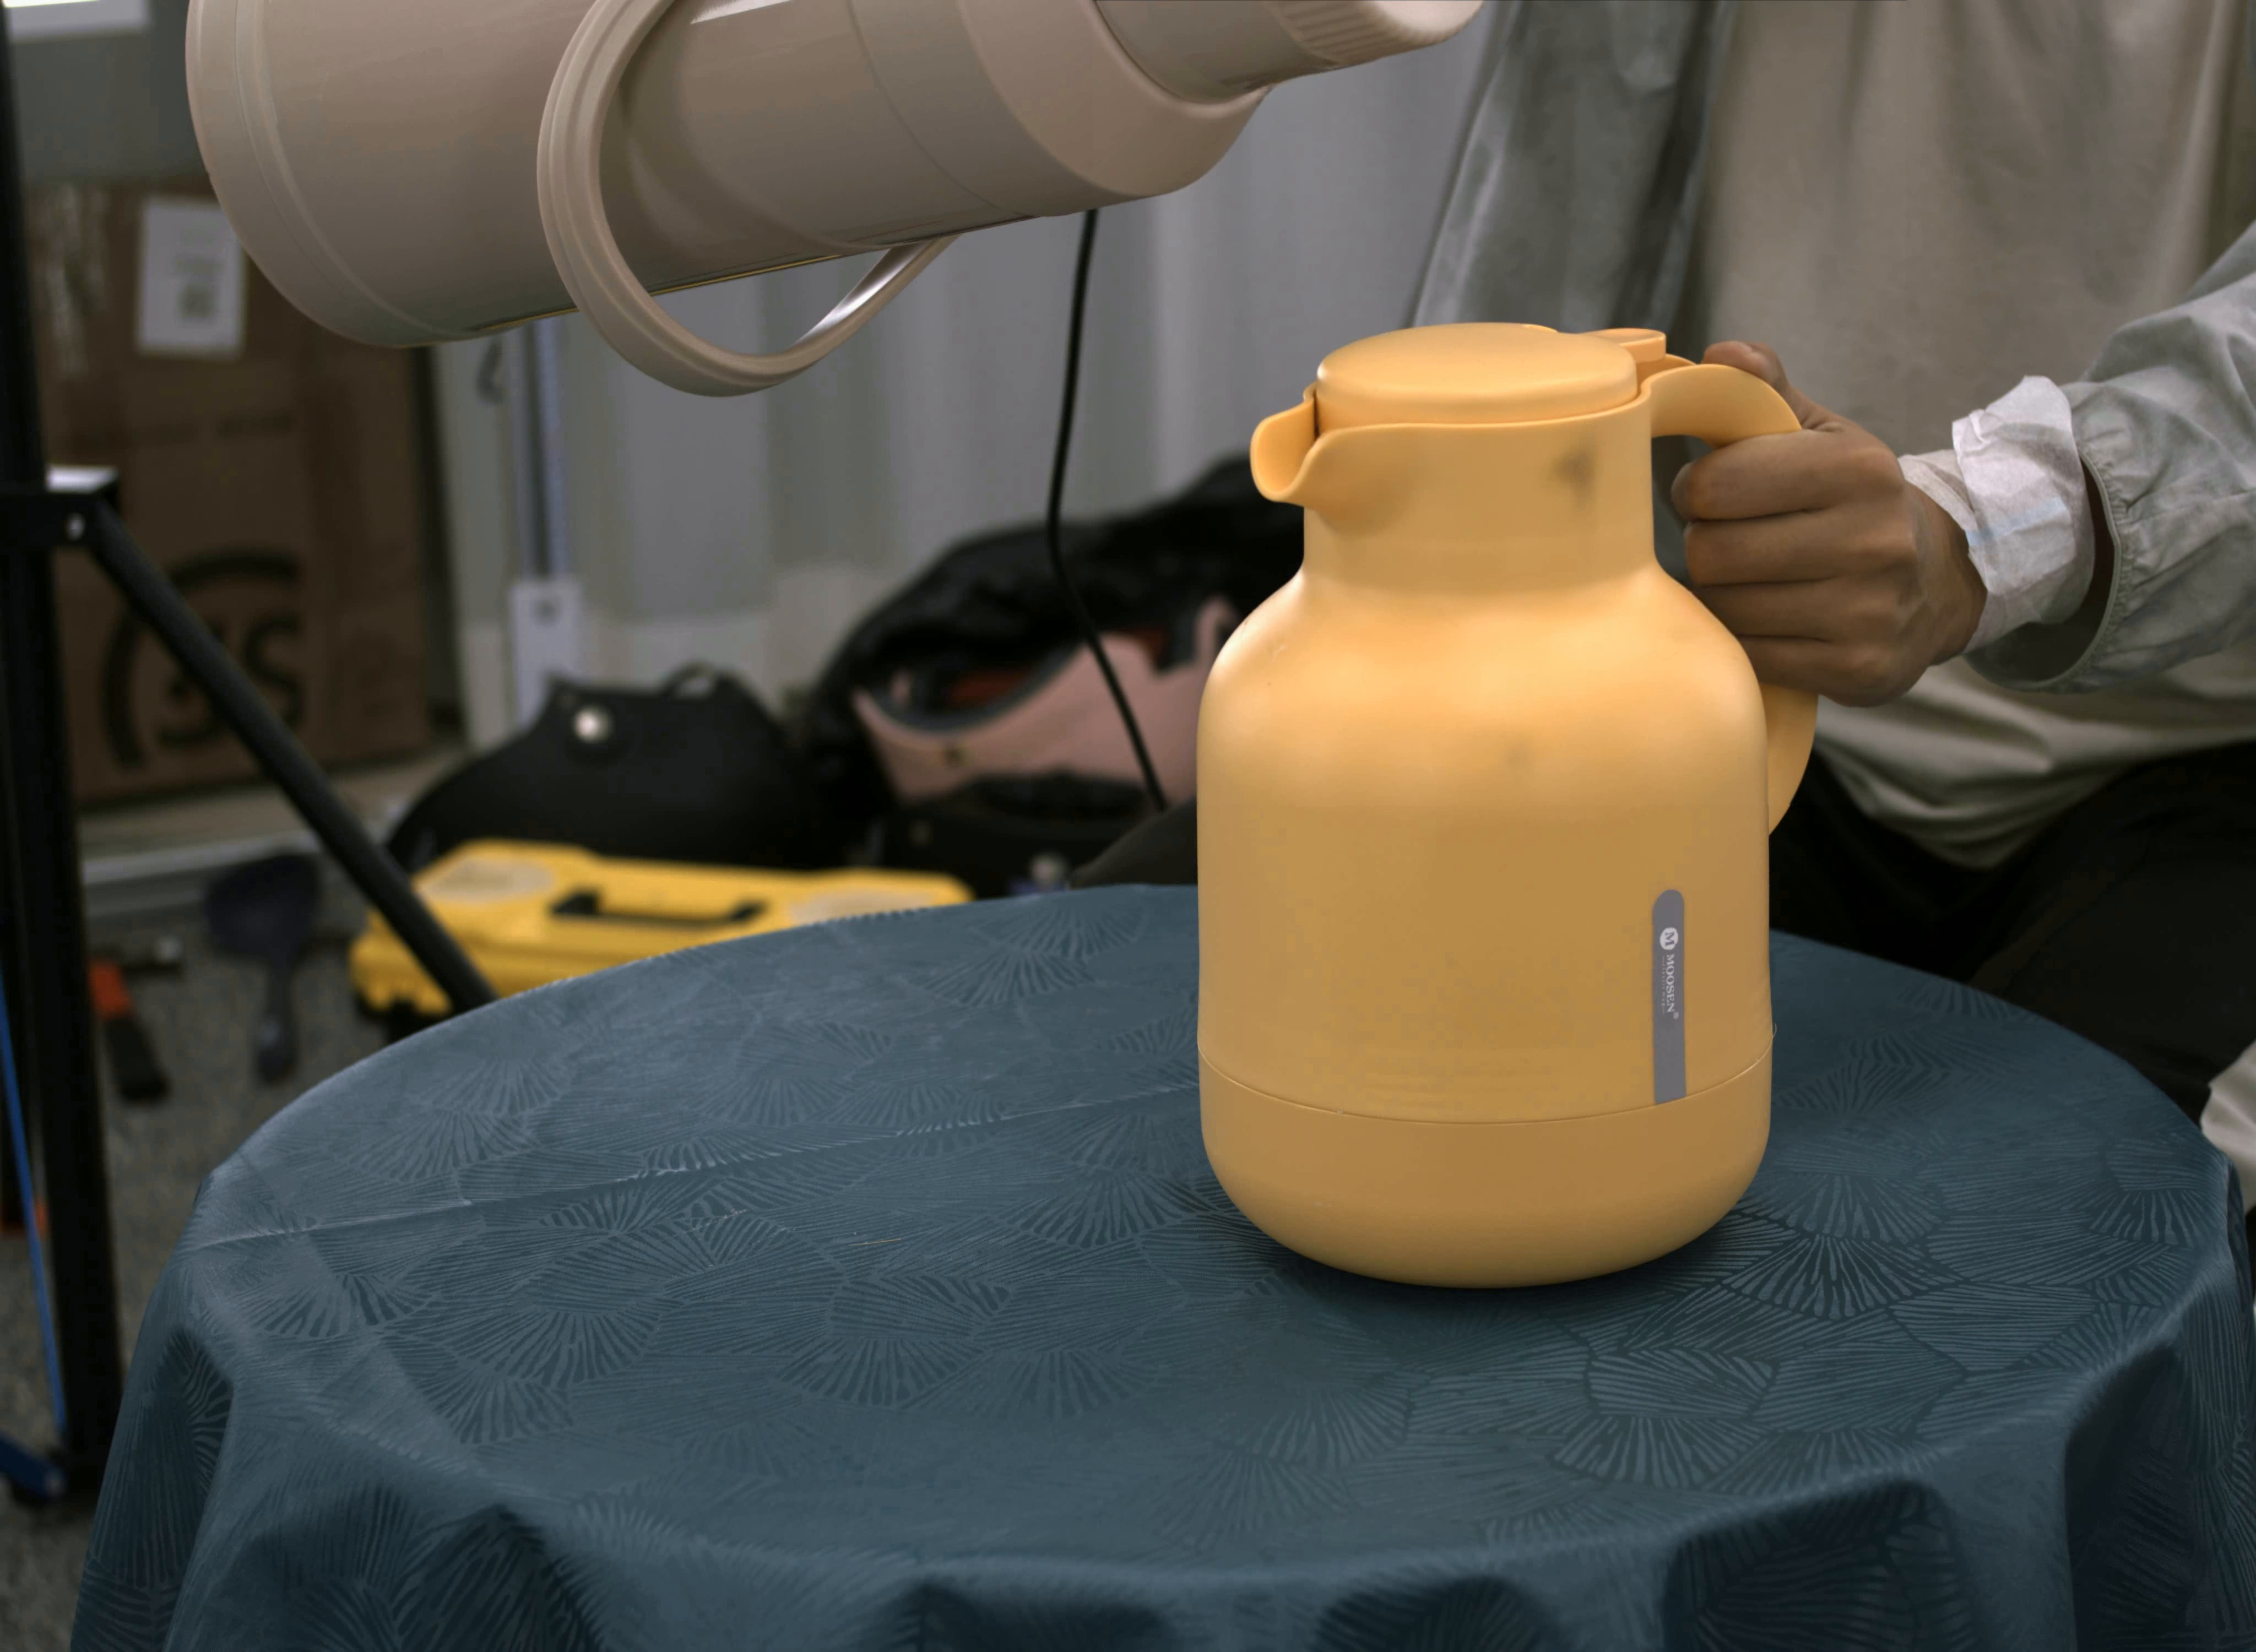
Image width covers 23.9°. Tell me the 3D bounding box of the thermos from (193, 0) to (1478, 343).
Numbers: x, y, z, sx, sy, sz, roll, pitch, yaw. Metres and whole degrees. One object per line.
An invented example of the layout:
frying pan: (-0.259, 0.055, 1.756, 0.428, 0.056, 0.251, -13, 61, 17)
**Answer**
thermos: (-0.080, -0.262, 1.578, 0.414, 0.208, 0.170, -7, -21, 39)

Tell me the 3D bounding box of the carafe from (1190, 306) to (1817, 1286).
carafe: (0.114, -0.015, 1.494, 0.198, 0.260, 0.167, -13, 21, -32)
